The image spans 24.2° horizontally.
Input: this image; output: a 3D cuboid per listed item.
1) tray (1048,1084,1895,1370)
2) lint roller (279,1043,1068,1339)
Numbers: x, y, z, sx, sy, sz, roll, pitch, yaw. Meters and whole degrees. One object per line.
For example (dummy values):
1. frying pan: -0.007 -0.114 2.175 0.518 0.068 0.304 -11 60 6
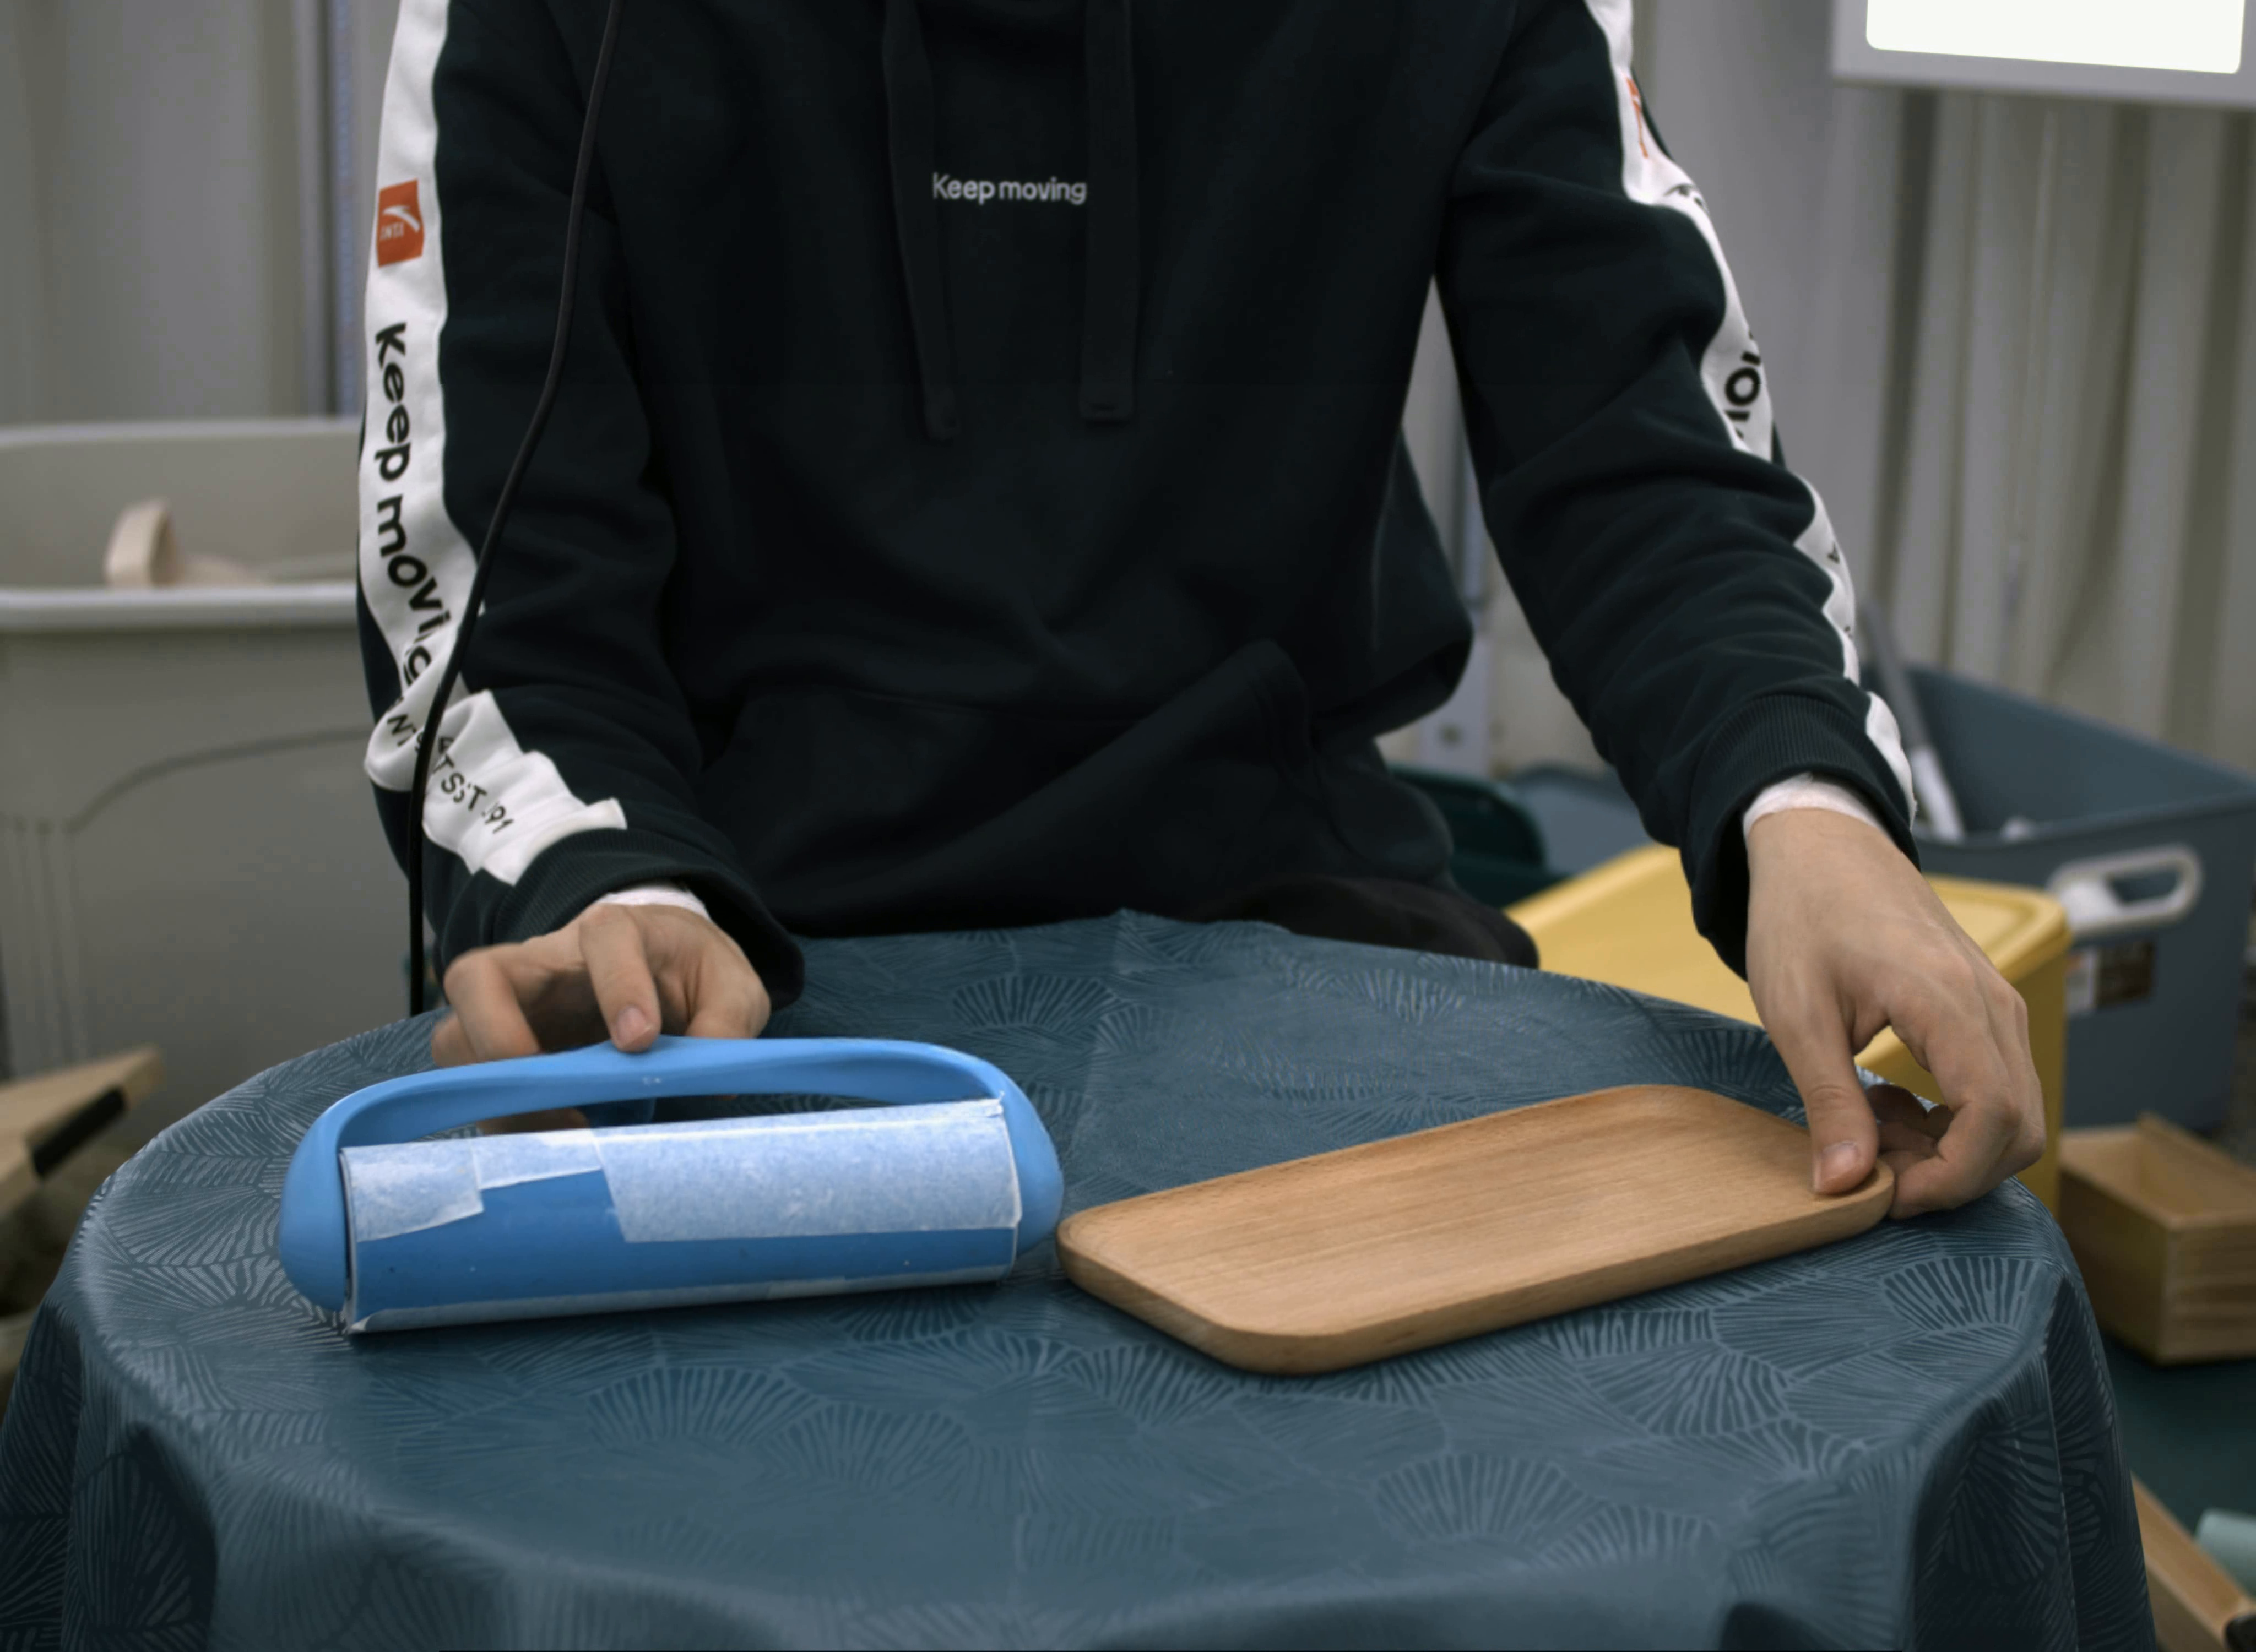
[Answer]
1. tray: 0.104 0.118 1.571 0.252 0.023 0.129 -10 16 -33
2. lint roller: -0.146 0.095 1.569 0.229 0.068 0.178 -6 17 -16
